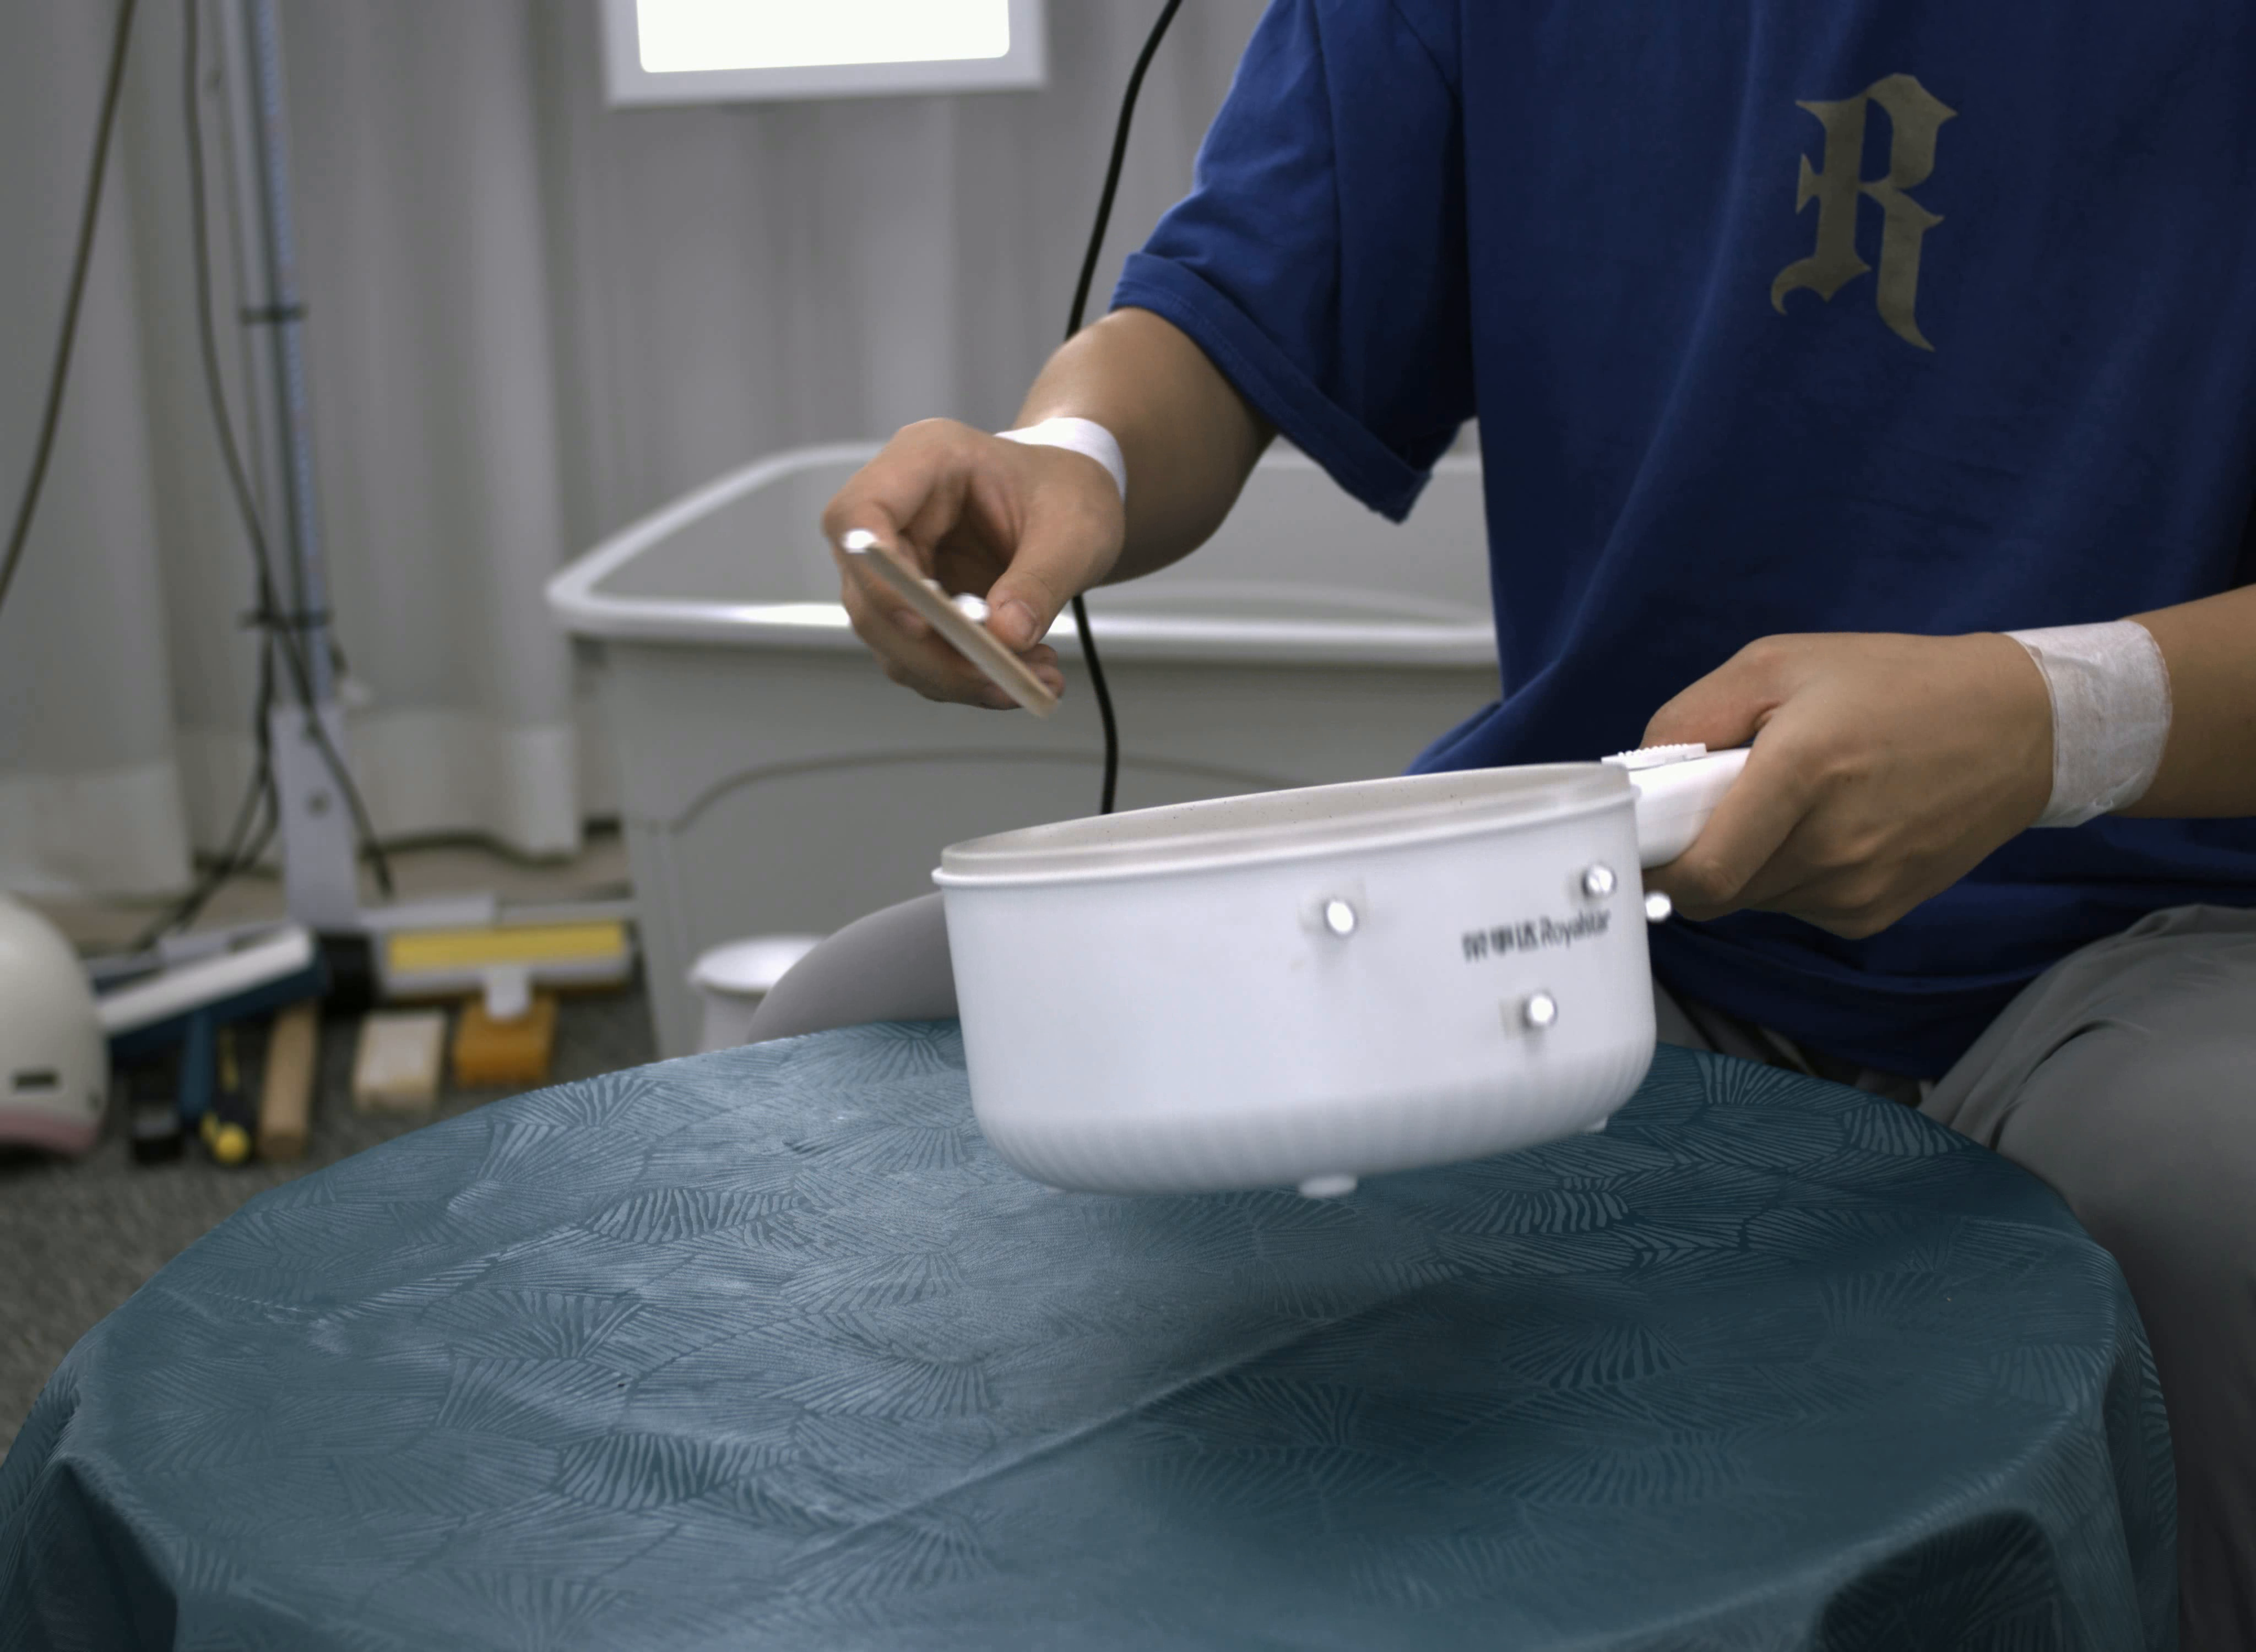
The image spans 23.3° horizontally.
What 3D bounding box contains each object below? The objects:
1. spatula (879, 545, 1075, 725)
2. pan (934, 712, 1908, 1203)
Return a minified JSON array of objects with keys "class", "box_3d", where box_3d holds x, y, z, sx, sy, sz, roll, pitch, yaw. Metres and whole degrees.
[{"class":"spatula","box_3d":[-0.046,-0.060,1.671,0.010,0.072,0.293,-47,3,1]},{"class":"pan","box_3d":[0.105,0.035,1.589,0.353,0.102,0.201,-10,1,-44]}]
